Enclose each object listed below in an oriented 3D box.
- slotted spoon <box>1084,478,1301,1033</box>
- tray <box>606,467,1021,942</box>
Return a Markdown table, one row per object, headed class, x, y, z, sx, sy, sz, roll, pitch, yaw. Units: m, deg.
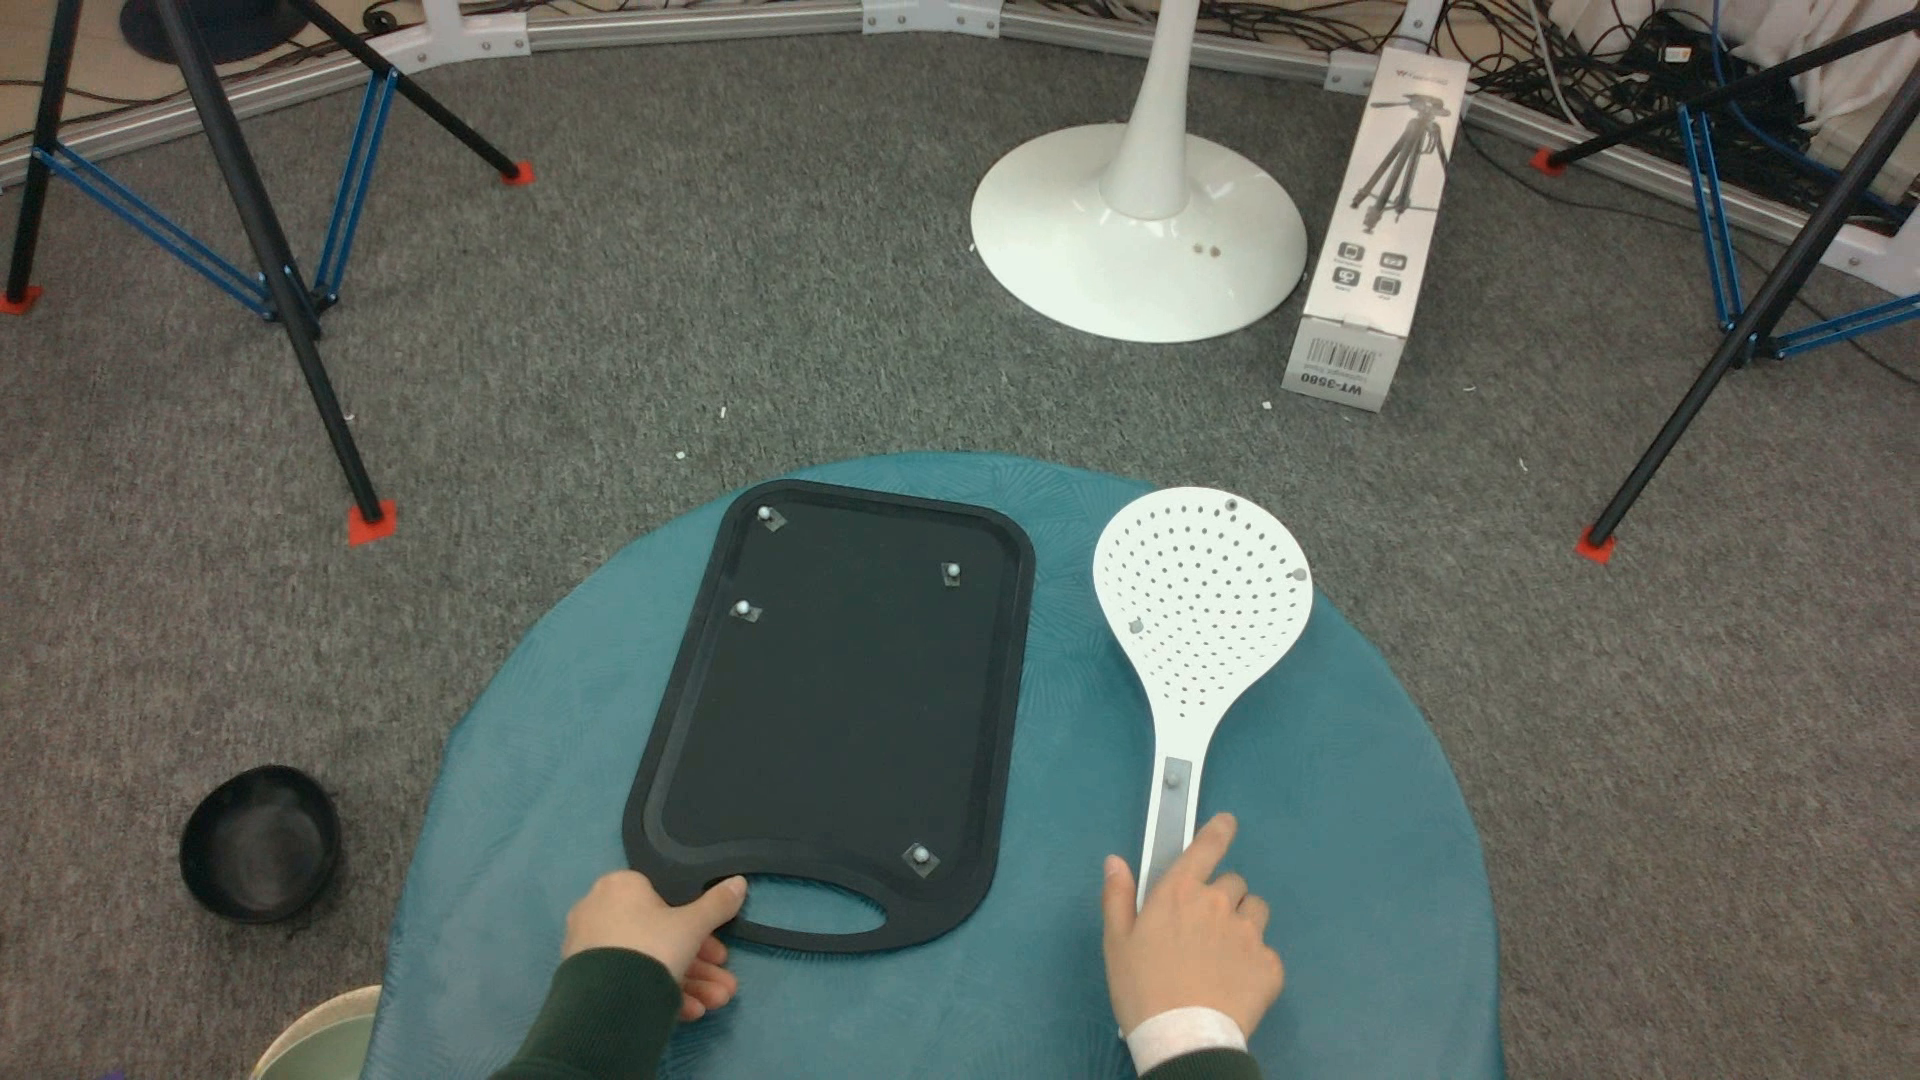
| class | x | y | z | sx | sy | sz | roll | pitch | yaw |
| --- | --- | --- | --- | --- | --- | --- | --- | --- | --- |
| slotted spoon | 0.122 | 0.109 | 0.801 | 0.136 | 0.045 | 0.351 | 11 | 52 | 4 |
| tray | -0.078 | 0.084 | 0.826 | 0.211 | 0.010 | 0.327 | 9 | 51 | 1 |
